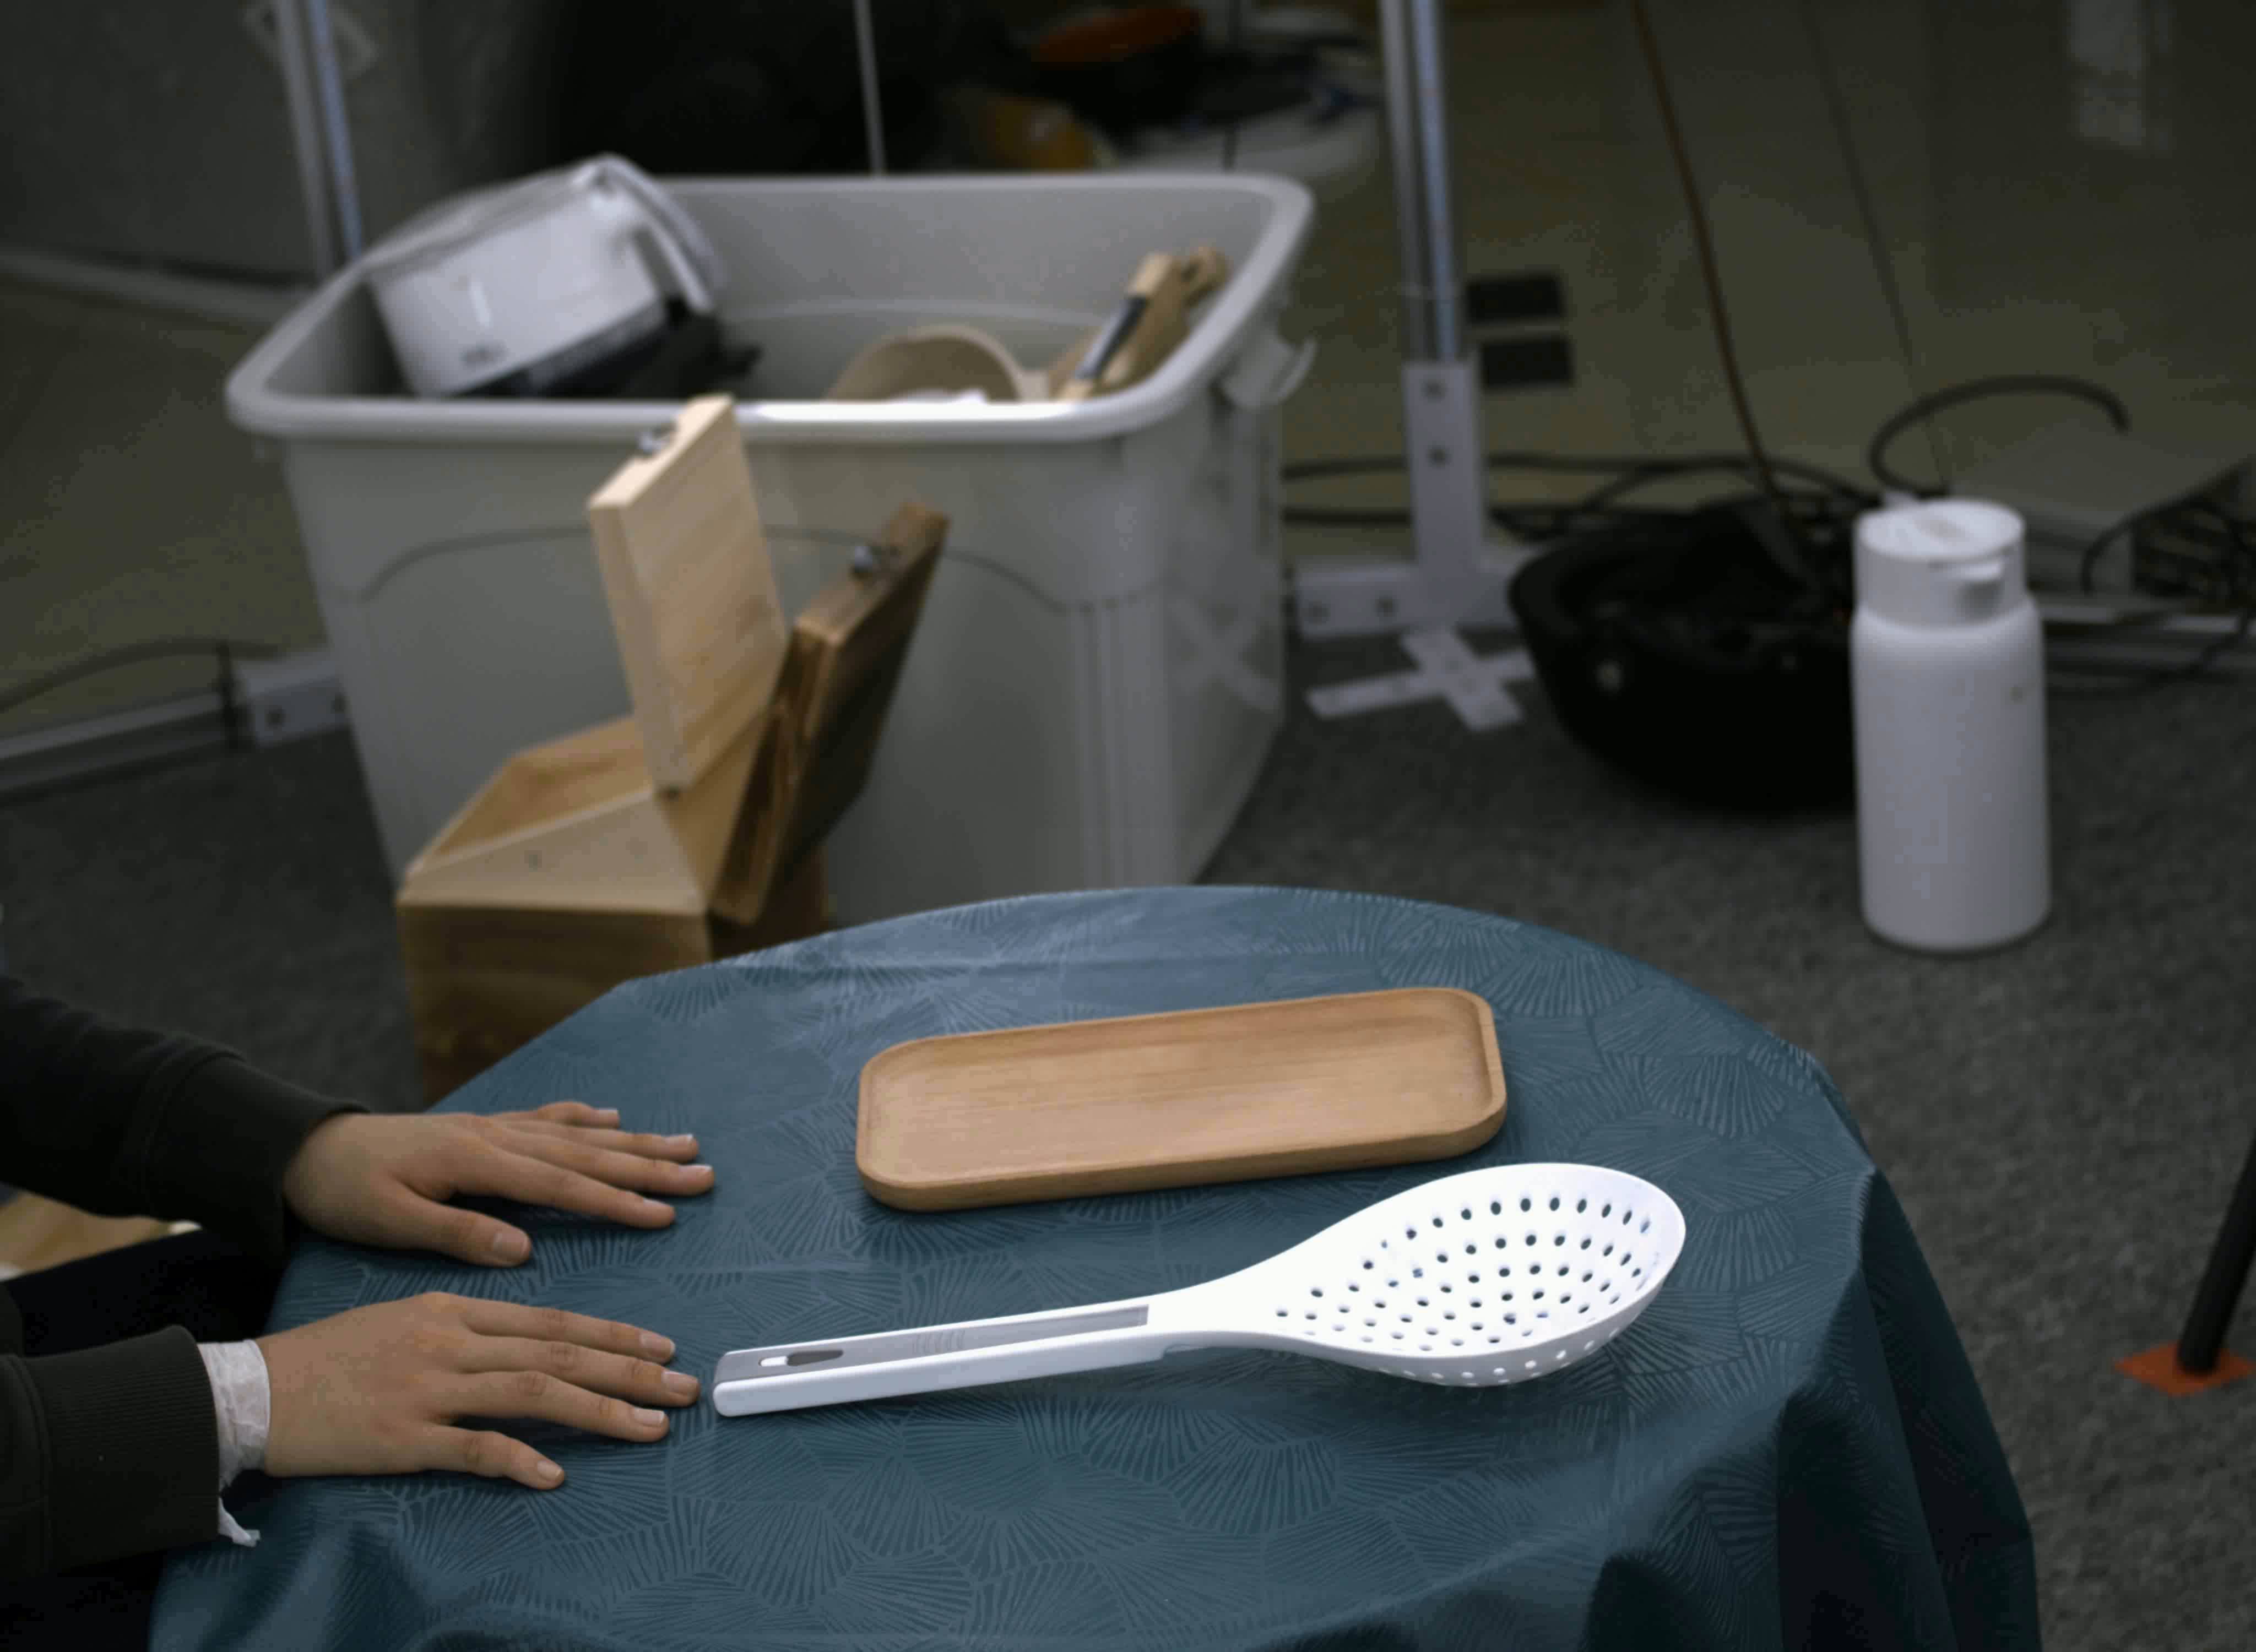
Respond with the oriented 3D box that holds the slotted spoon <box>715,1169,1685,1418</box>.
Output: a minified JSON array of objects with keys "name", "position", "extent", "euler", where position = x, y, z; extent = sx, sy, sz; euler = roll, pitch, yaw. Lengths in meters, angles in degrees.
[{"name":"slotted spoon","position":[0.024,0.176,2.014],"extent":[0.349,0.046,0.134],"euler":[-5,23,6]}]

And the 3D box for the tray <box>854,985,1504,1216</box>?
[{"name":"tray","position":[0.019,0.106,2.199],"extent":[0.250,0.023,0.129],"euler":[-6,23,2]}]
